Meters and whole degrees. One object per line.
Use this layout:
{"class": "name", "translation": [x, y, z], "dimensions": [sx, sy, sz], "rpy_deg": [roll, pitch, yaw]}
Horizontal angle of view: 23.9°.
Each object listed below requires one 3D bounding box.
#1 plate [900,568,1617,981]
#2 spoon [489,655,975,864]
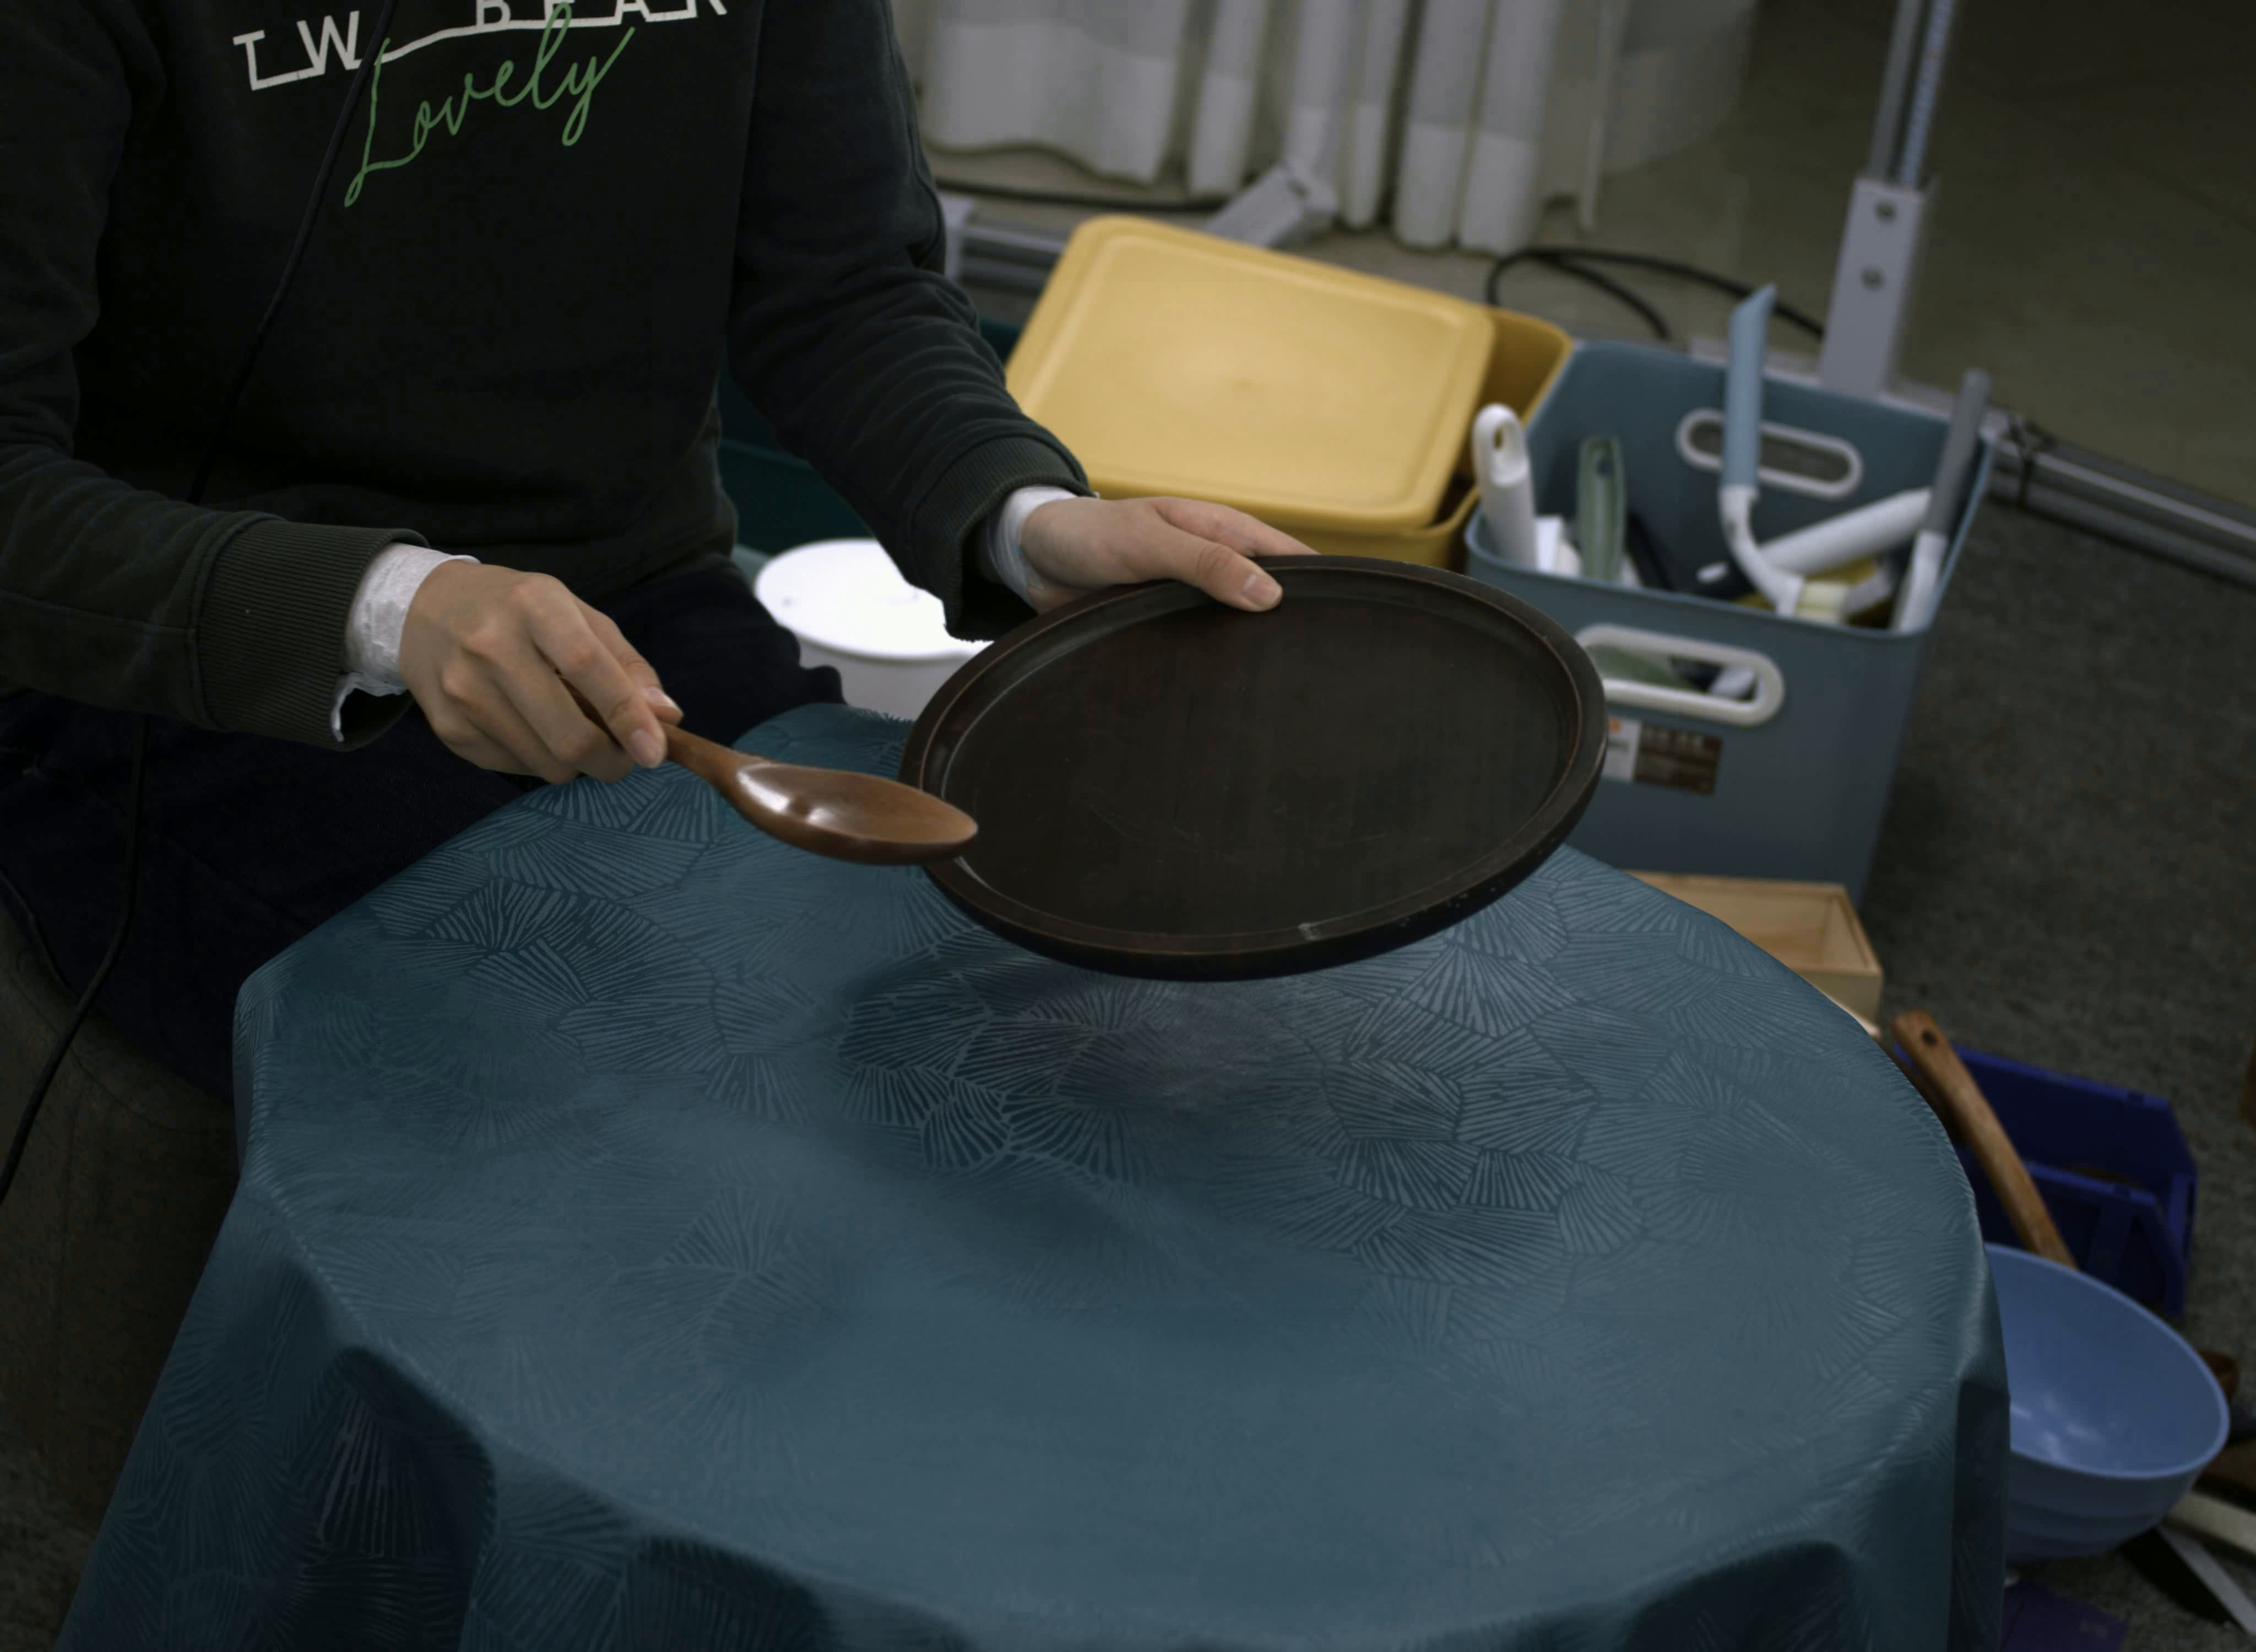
{"class": "plate", "translation": [0.045, -0.020, 1.871], "dimensions": [0.254, 0.029, 0.256], "rpy_deg": [-6, 34, 3]}
{"class": "spoon", "translation": [-0.139, -0.021, 1.787], "dimensions": [0.217, 0.017, 0.075], "rpy_deg": [22, 21, 38]}
